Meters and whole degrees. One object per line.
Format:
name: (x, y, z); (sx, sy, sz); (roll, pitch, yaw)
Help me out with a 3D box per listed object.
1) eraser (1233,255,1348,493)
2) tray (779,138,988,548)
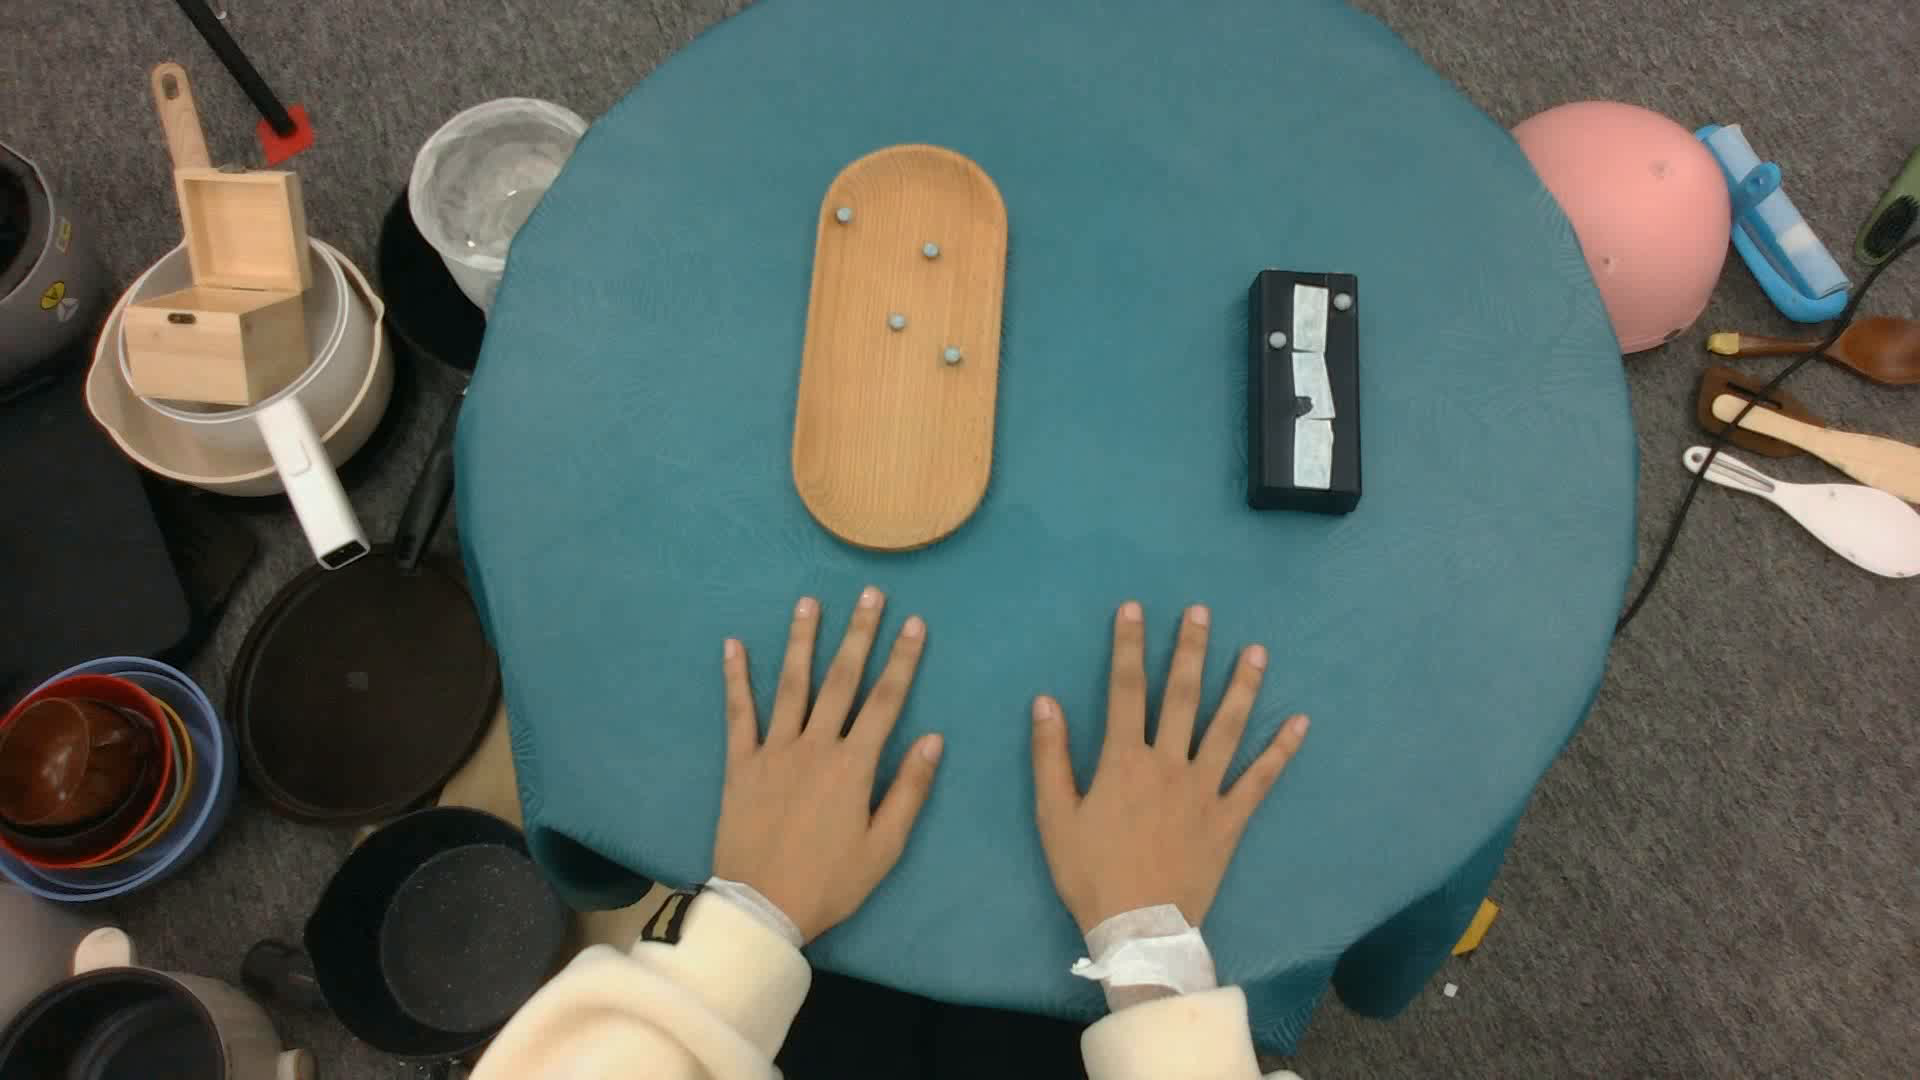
eraser: (0.166, -0.085, 0.702); (0.053, 0.030, 0.126); (1, 70, 5)
tray: (-0.038, -0.106, 0.712); (0.101, 0.020, 0.232); (2, 73, 0)
